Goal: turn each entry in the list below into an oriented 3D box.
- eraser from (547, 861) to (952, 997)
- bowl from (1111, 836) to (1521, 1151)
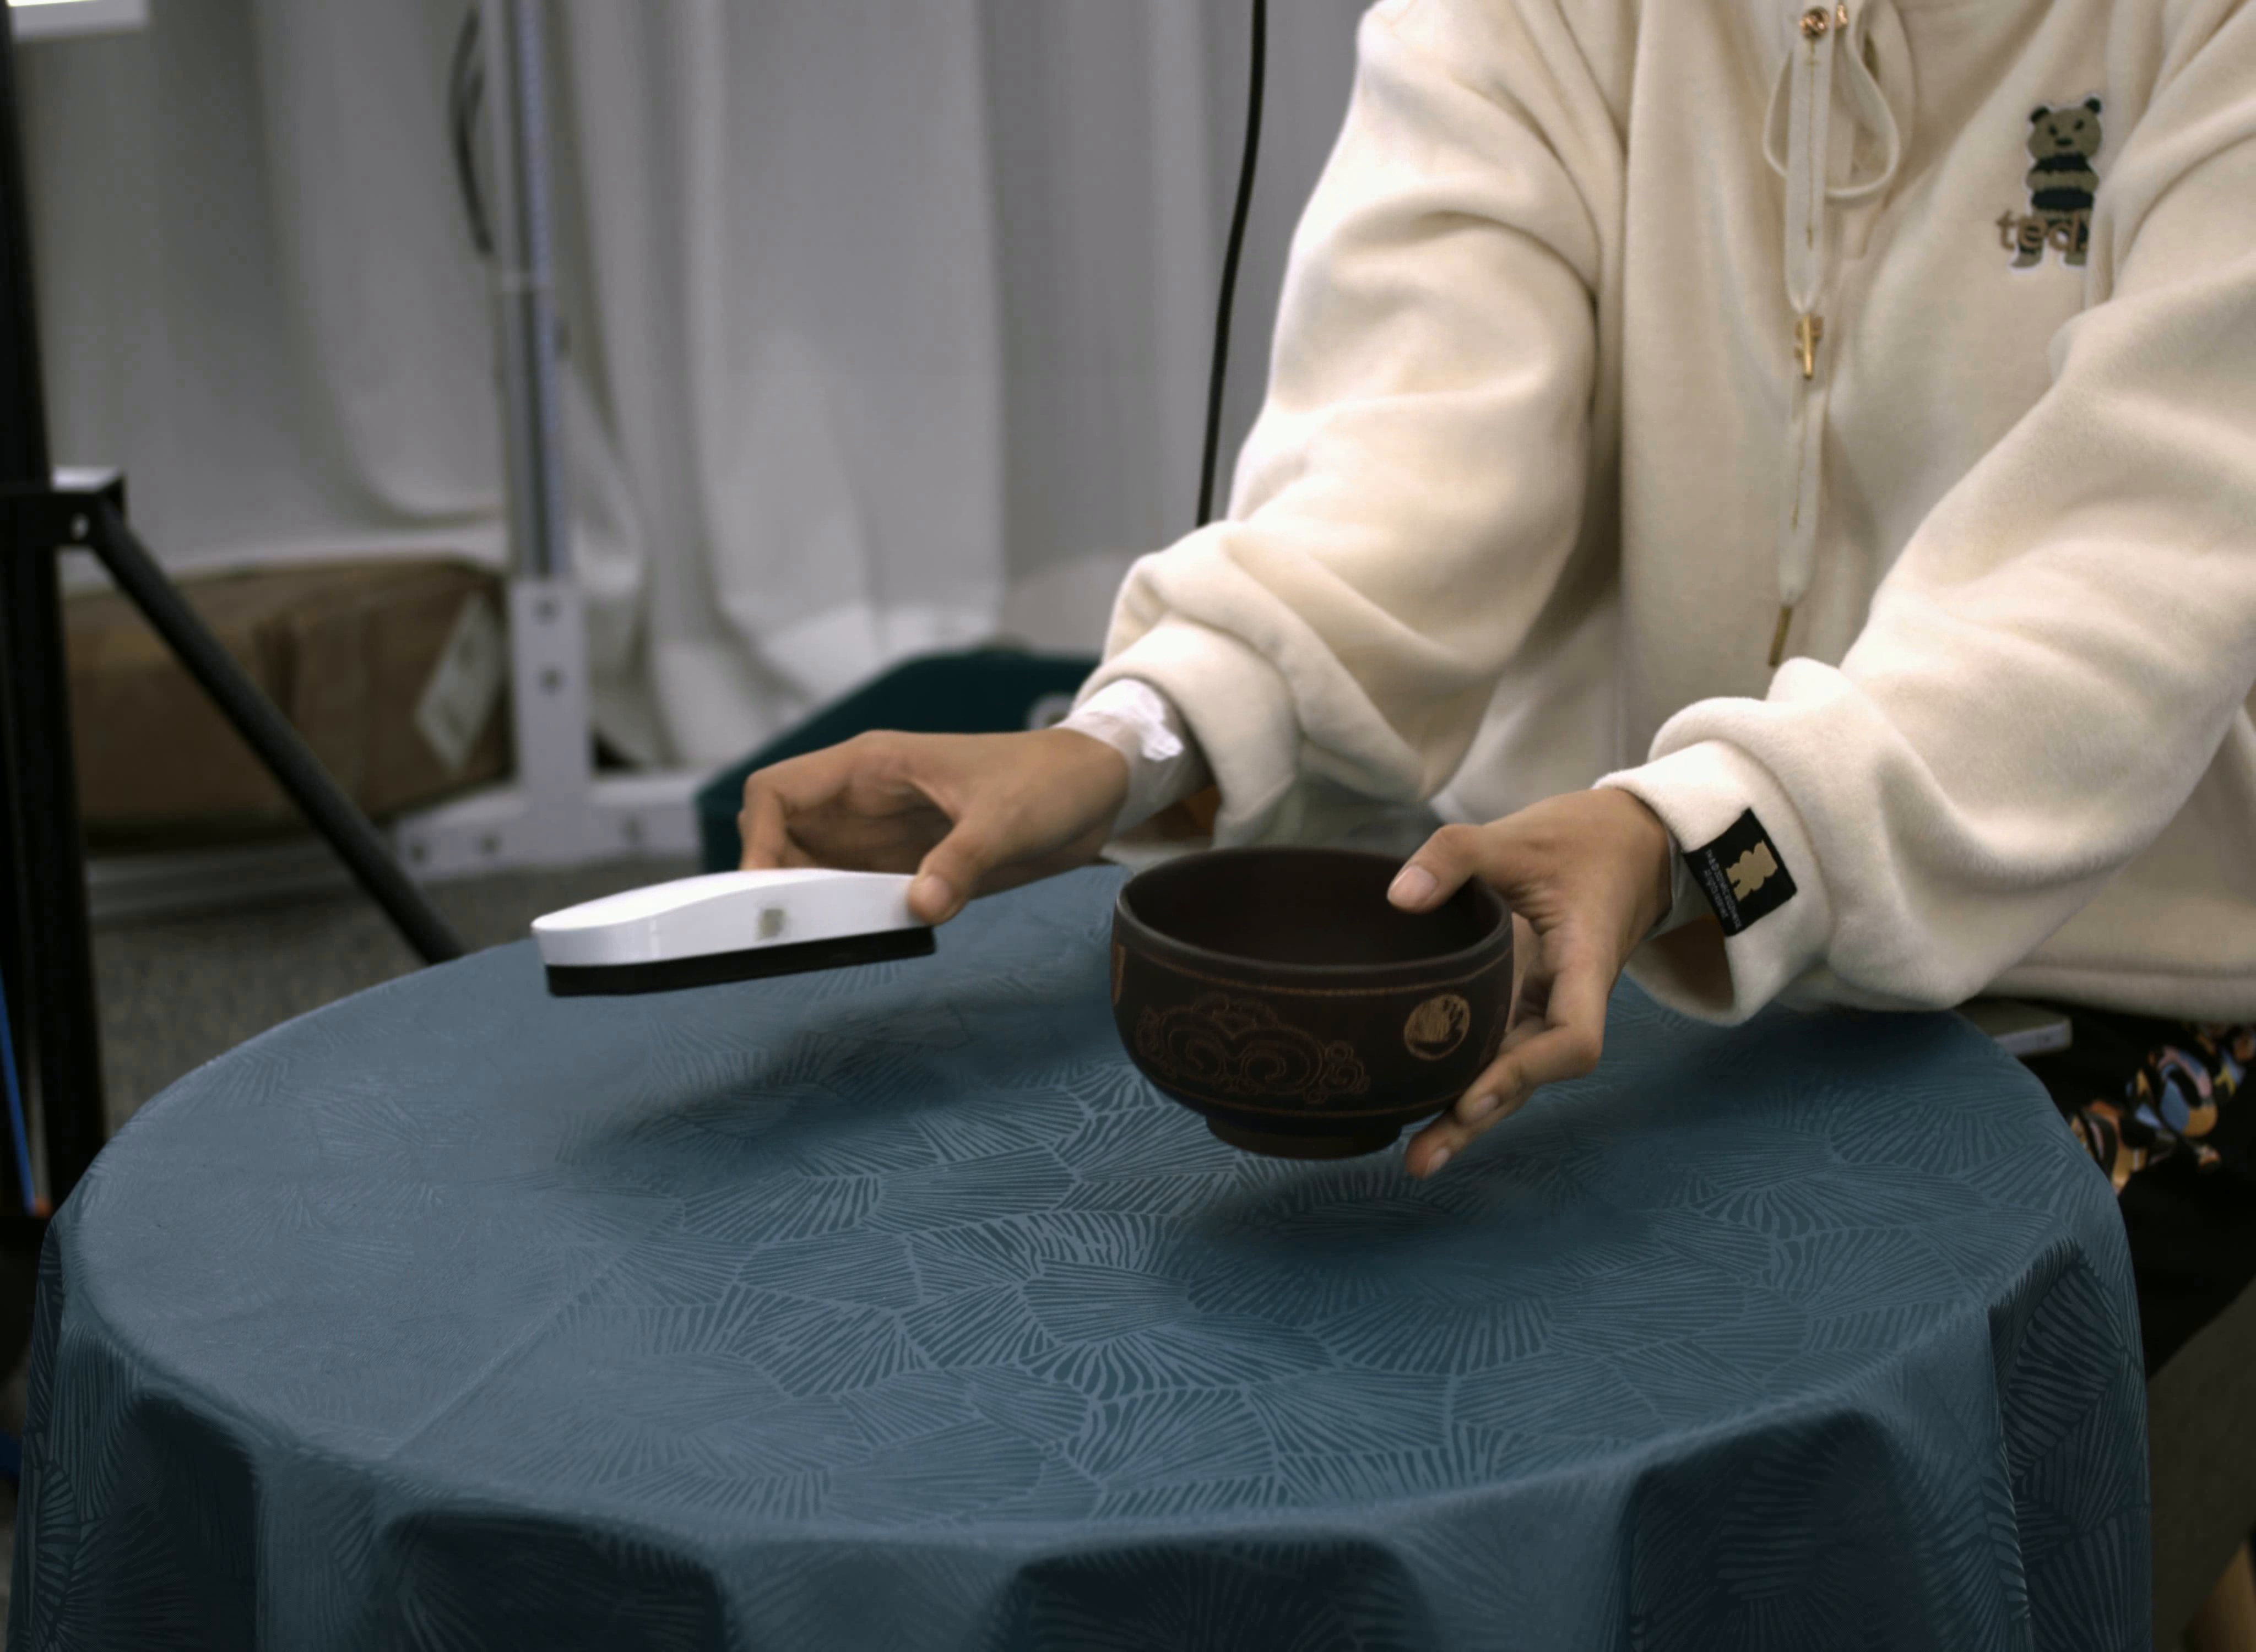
[{"bbox_3d":[-0.115,0.030,1.655,0.128,0.034,0.065,-7,3,-42],"label":"eraser"},{"bbox_3d":[0.053,0.052,1.528,0.117,0.070,0.118,4,16,-2],"label":"bowl"}]
